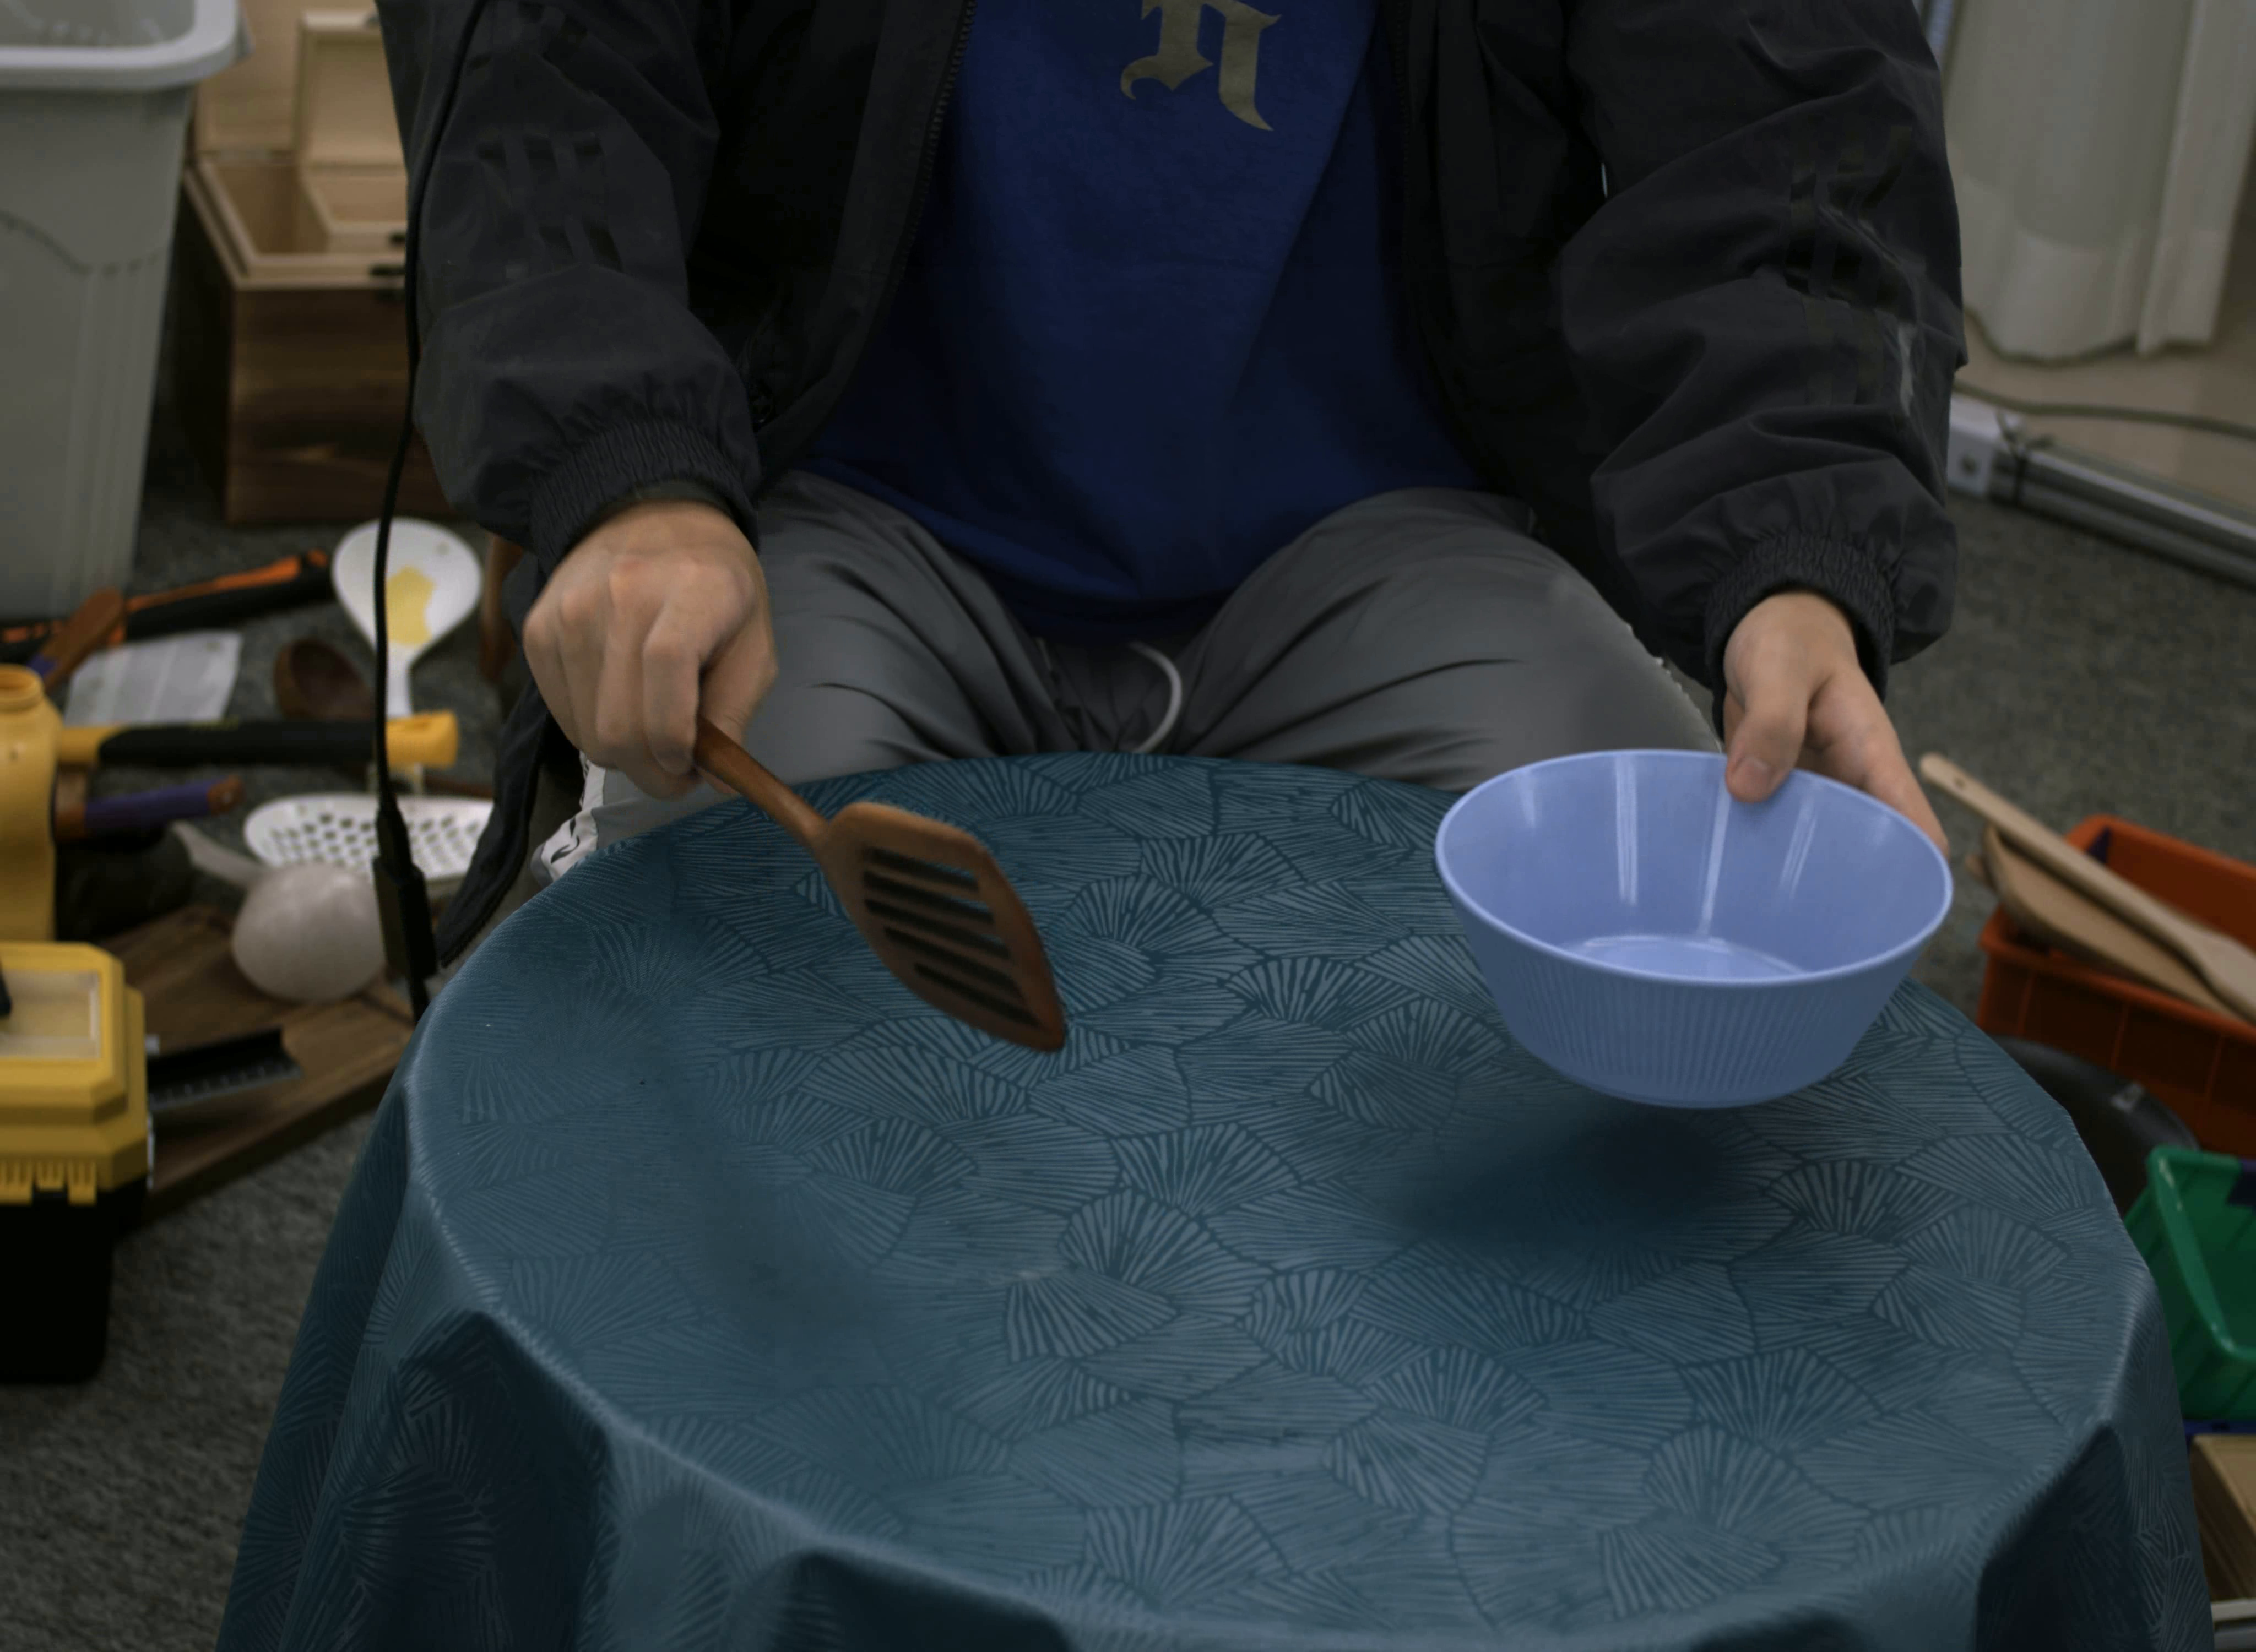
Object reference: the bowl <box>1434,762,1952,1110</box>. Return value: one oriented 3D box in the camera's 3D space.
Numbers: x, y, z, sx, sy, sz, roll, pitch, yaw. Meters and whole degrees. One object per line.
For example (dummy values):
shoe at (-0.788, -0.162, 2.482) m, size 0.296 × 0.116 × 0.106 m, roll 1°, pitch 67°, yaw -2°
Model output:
bowl at (0.190, 0.042, 1.817) m, size 0.175 × 0.070 × 0.177 m, roll 3°, pitch 24°, yaw -2°

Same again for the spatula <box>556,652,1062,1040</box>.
spatula at (-0.122, -0.008, 1.811) m, size 0.024 × 0.085 × 0.389 m, roll -28°, pitch 25°, yaw -17°
